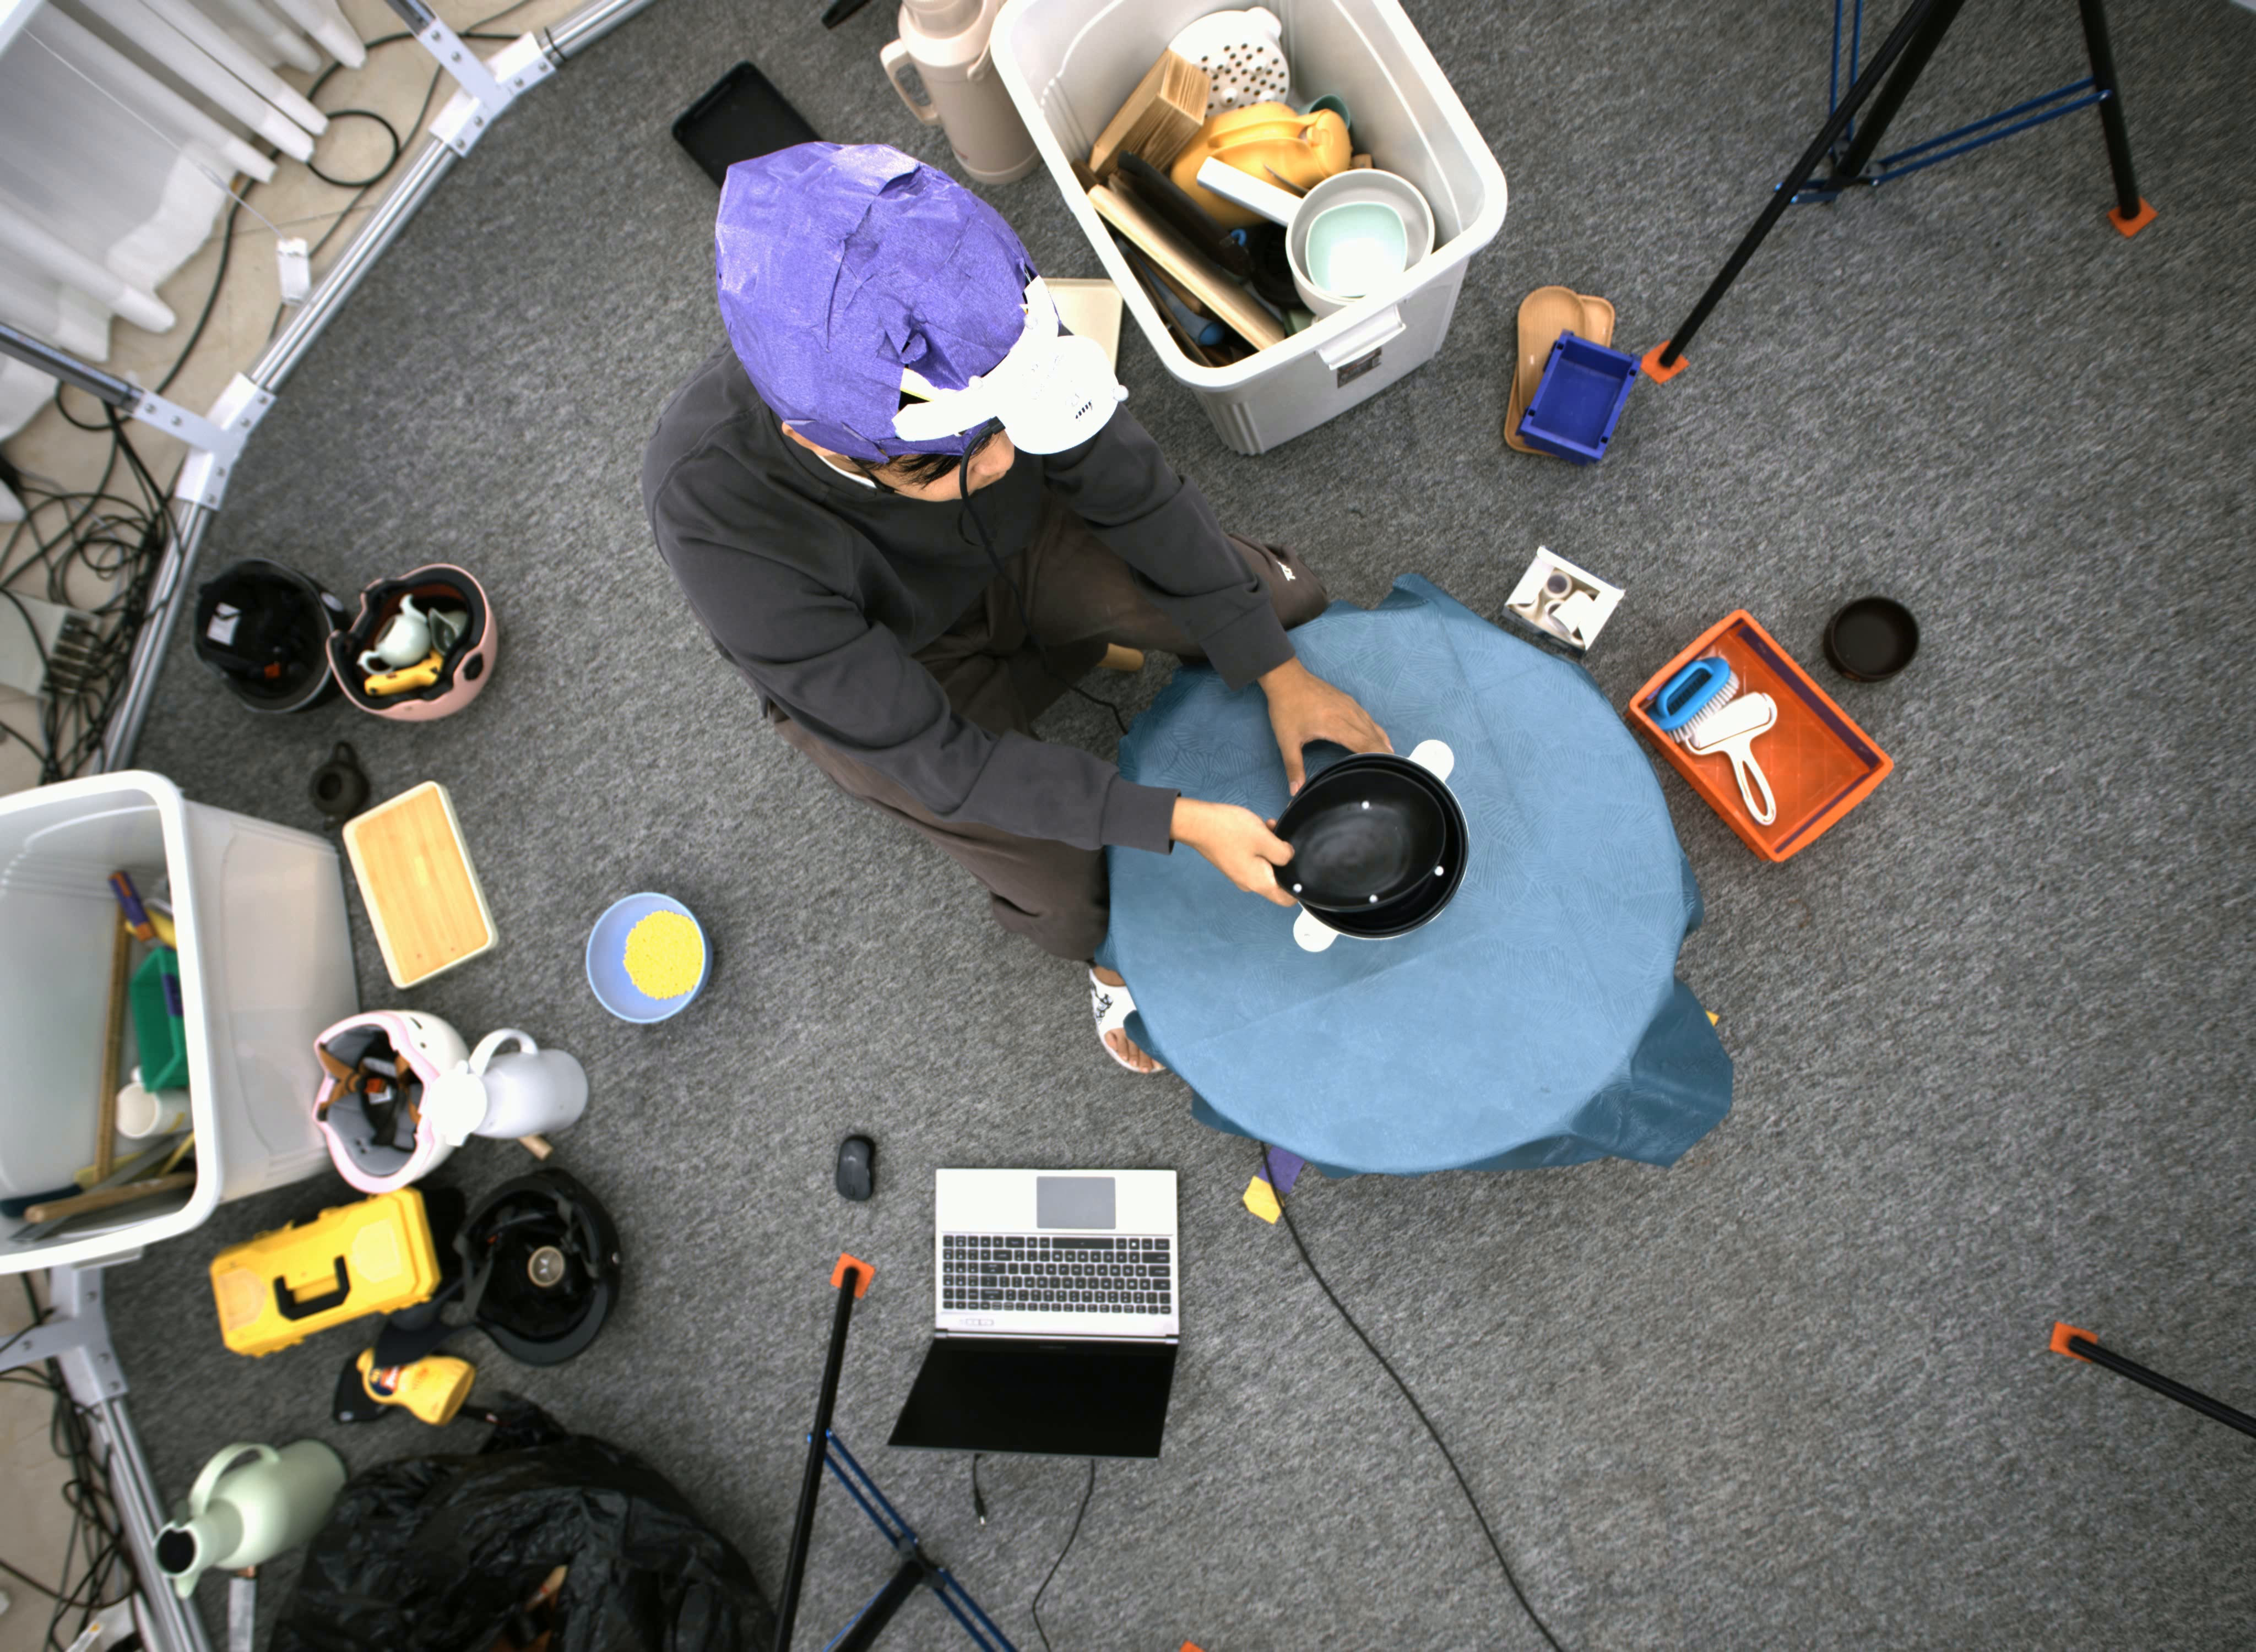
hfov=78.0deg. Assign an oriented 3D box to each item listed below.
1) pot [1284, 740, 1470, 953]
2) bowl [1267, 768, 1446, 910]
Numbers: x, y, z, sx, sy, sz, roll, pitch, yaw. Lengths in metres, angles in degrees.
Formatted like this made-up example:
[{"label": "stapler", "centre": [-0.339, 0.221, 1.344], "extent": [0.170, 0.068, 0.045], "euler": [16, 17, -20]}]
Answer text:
[{"label": "pot", "centre": [0.244, 0.023, 1.399], "extent": [0.190, 0.143, 0.240], "euler": [34, 91, 8]}, {"label": "bowl", "centre": [0.217, 0.022, 1.310], "extent": [0.170, 0.068, 0.135], "euler": [-20, 65, 0]}]
